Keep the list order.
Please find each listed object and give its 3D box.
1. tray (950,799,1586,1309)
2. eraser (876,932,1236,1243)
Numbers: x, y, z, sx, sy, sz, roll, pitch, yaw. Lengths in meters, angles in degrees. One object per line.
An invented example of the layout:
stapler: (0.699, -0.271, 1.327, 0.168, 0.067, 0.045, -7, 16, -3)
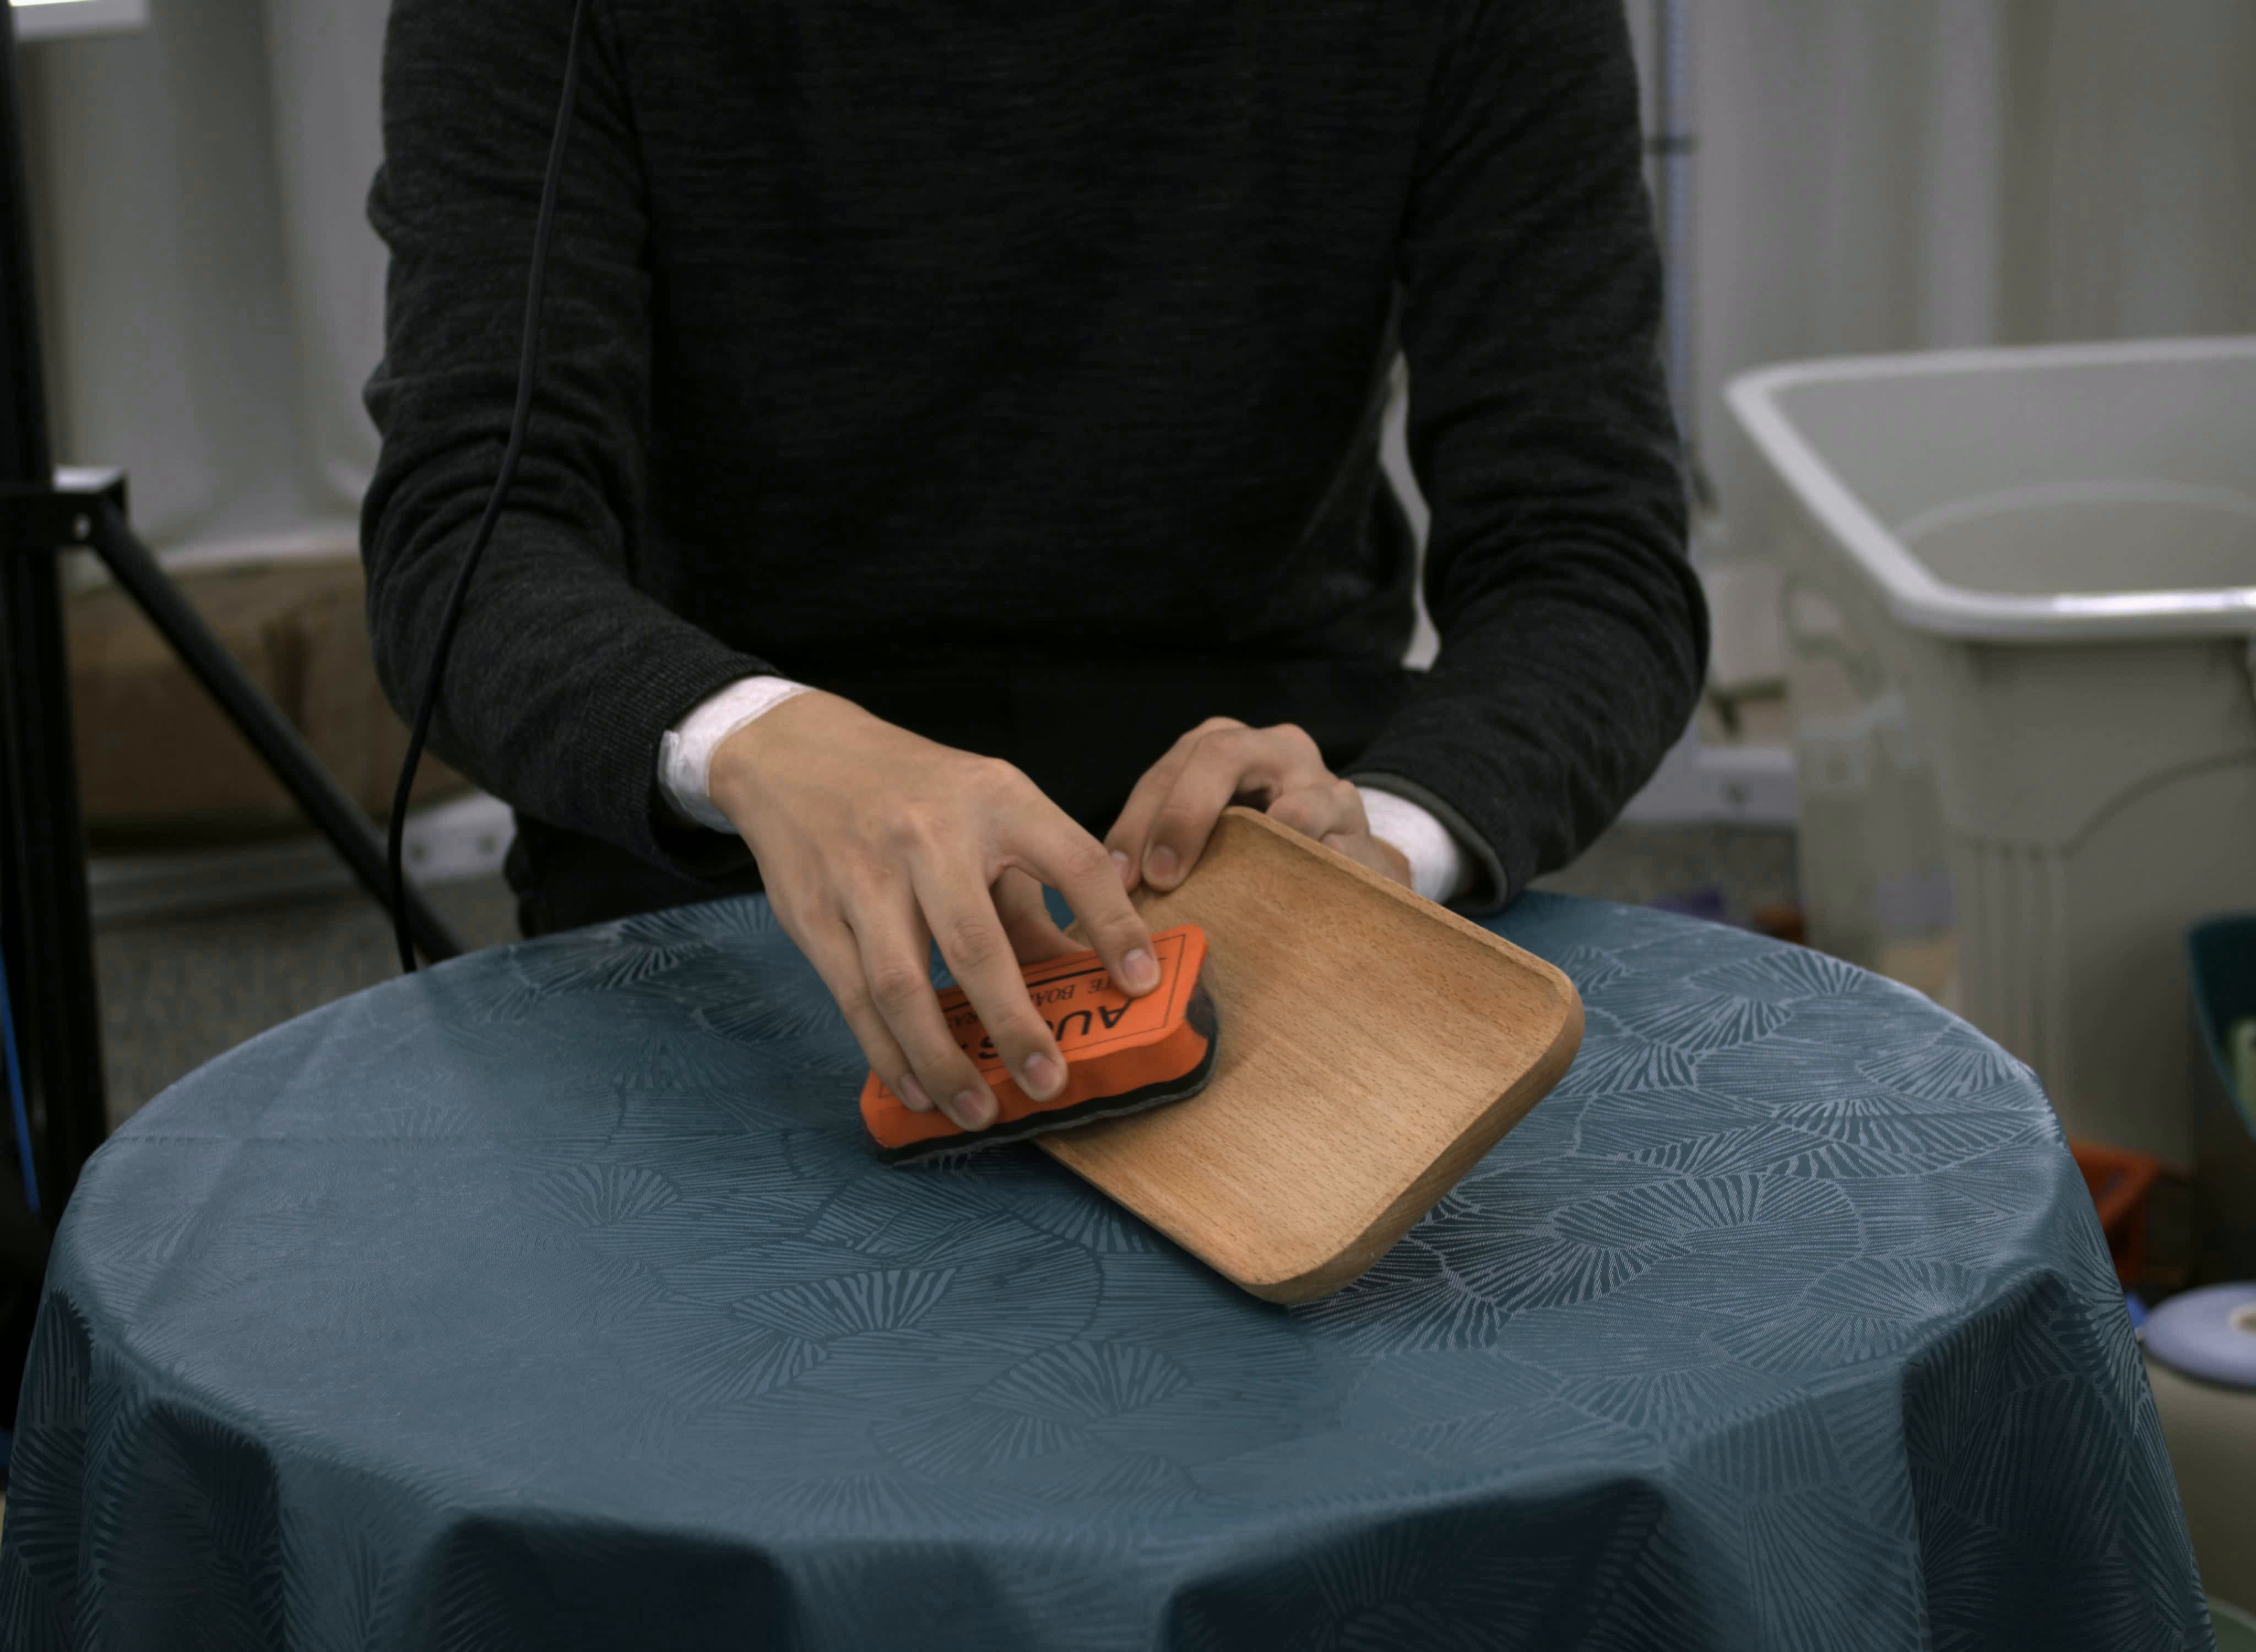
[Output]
tray: (0.038, 0.064, 1.557, 0.130, 0.022, 0.255, -41, 26, -9)
eraser: (-0.022, 0.077, 1.573, 0.108, 0.022, 0.060, -32, 27, 8)
